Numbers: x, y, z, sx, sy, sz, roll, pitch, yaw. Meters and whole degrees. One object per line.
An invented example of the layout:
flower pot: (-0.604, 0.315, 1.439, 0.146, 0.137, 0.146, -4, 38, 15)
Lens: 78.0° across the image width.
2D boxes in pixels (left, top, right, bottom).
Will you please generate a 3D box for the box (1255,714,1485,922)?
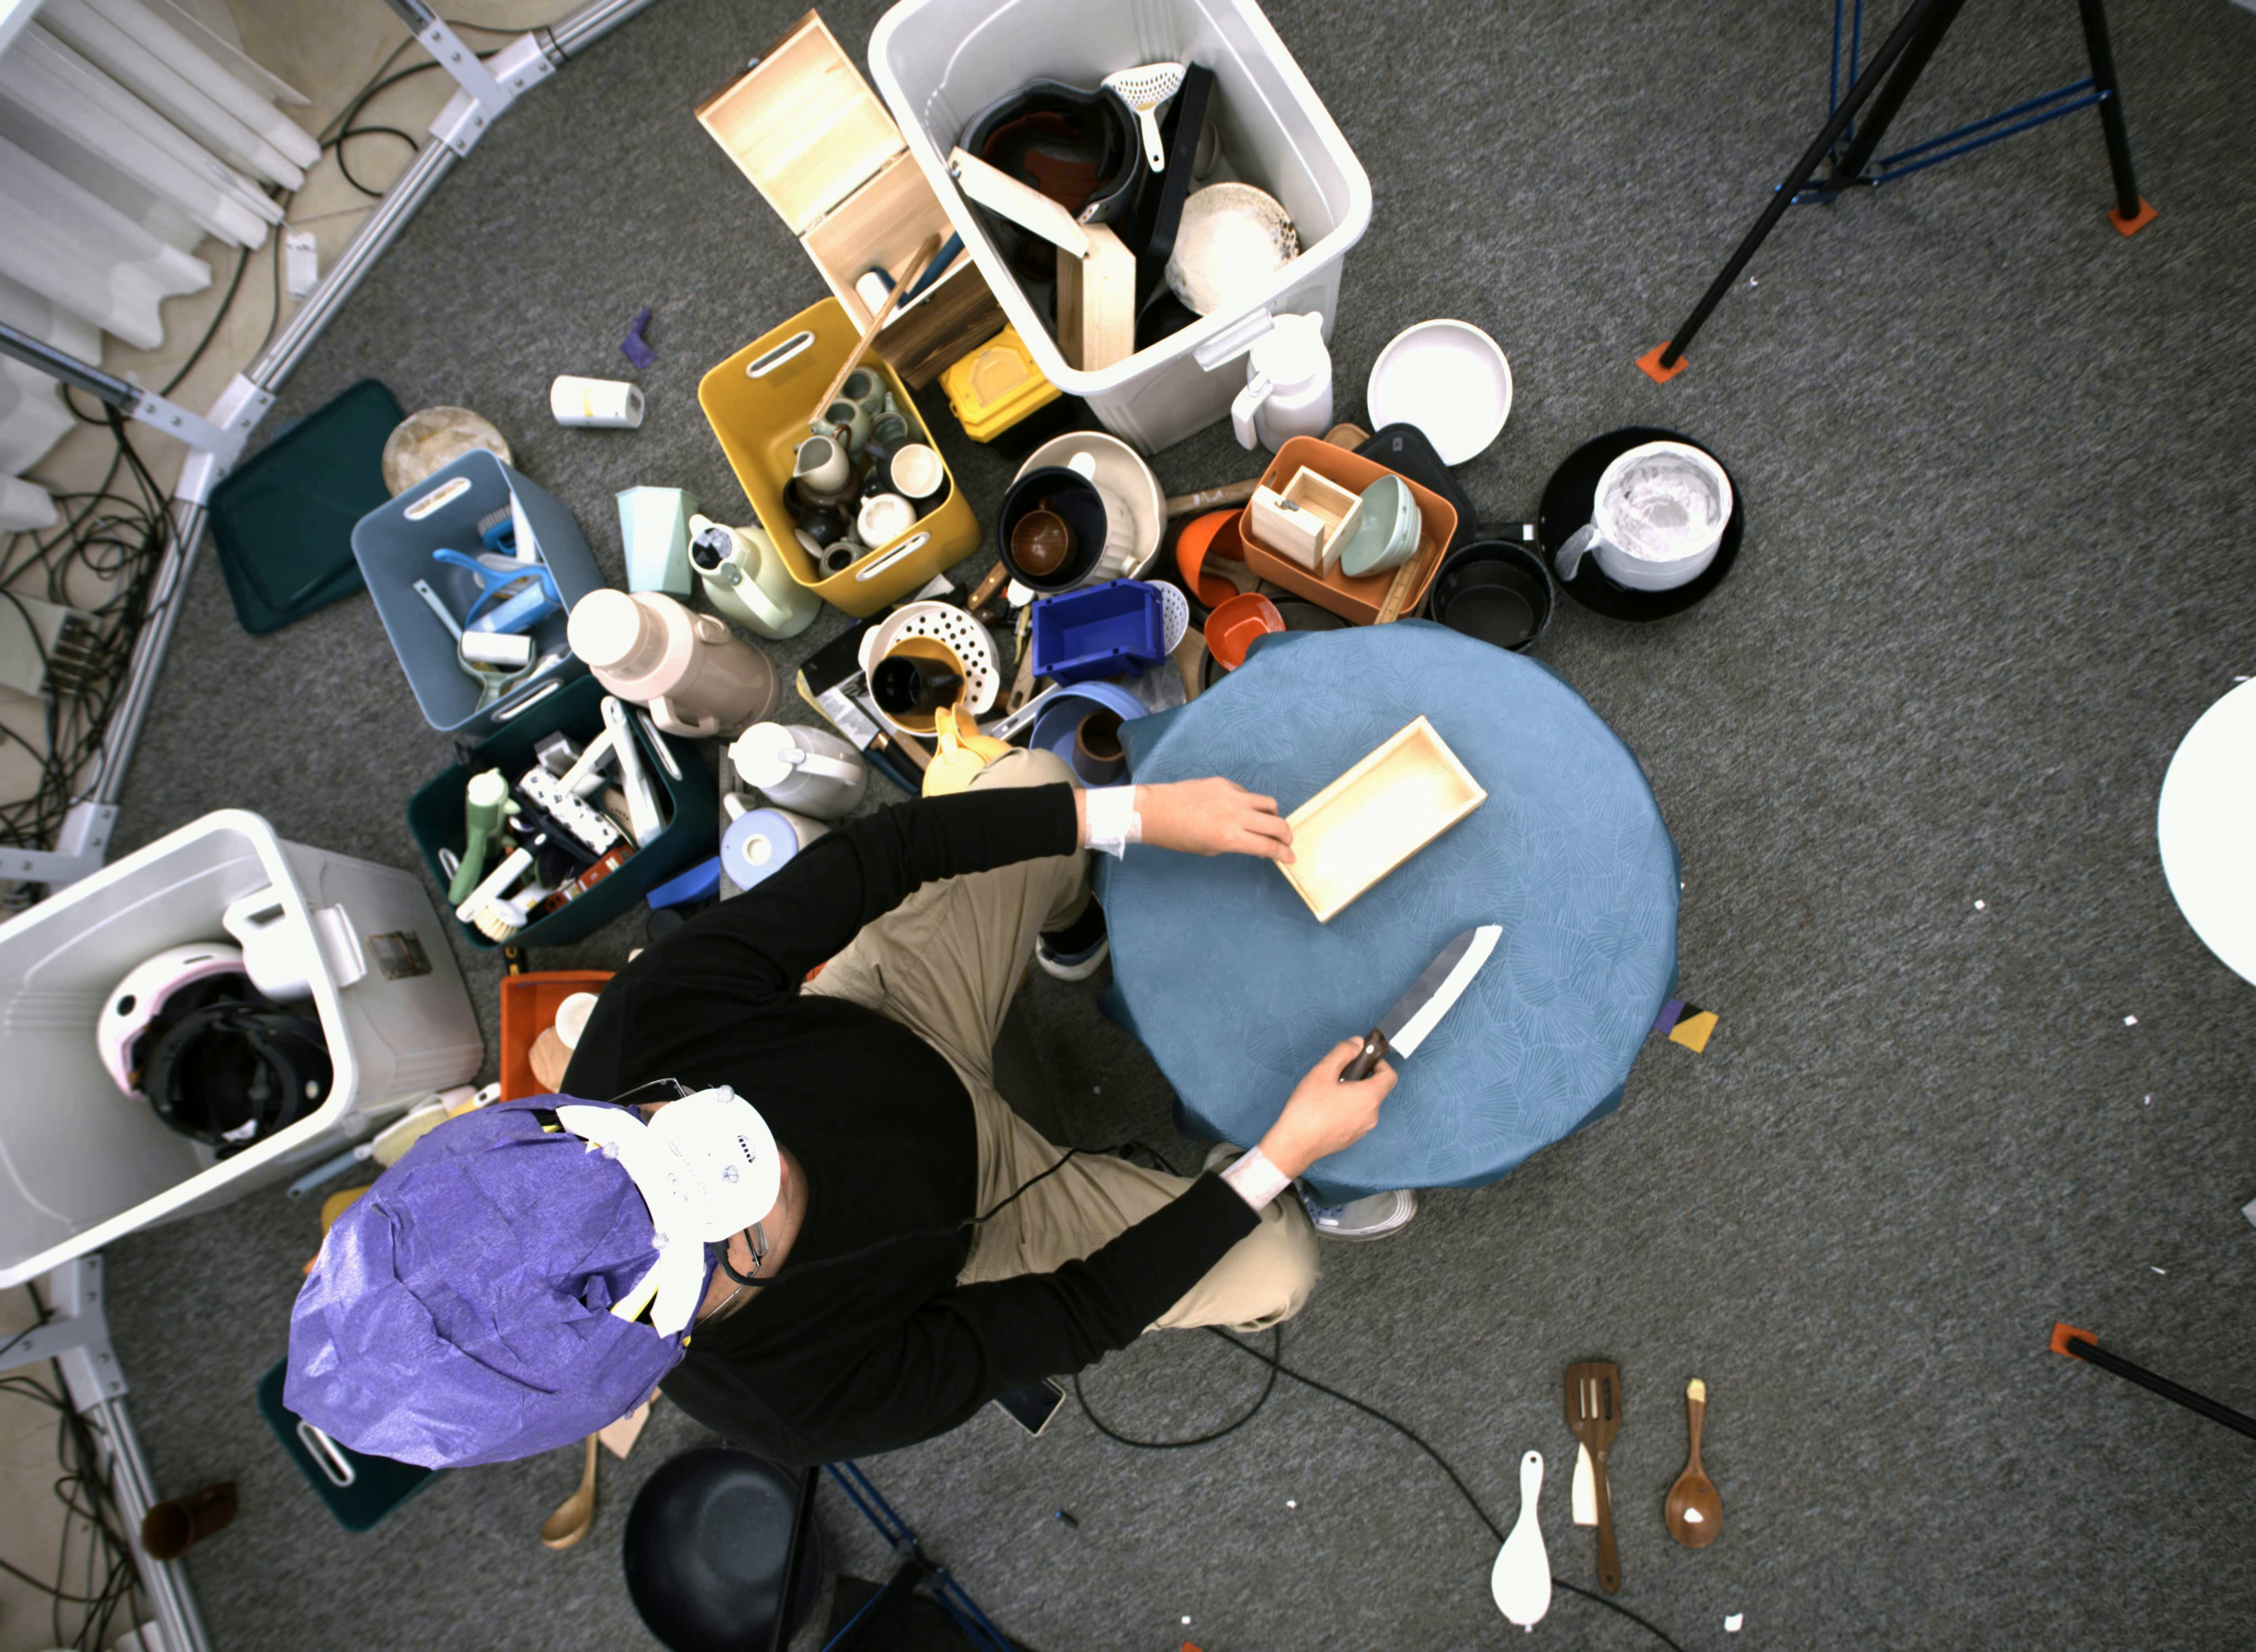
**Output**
box: (0.250, -0.007, 1.428, 0.212, 0.080, 0.107, -37, 80, 6)

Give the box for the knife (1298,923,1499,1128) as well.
knife: (0.279, 0.200, 1.409, 0.288, 0.020, 0.050, -45, 77, -4)
